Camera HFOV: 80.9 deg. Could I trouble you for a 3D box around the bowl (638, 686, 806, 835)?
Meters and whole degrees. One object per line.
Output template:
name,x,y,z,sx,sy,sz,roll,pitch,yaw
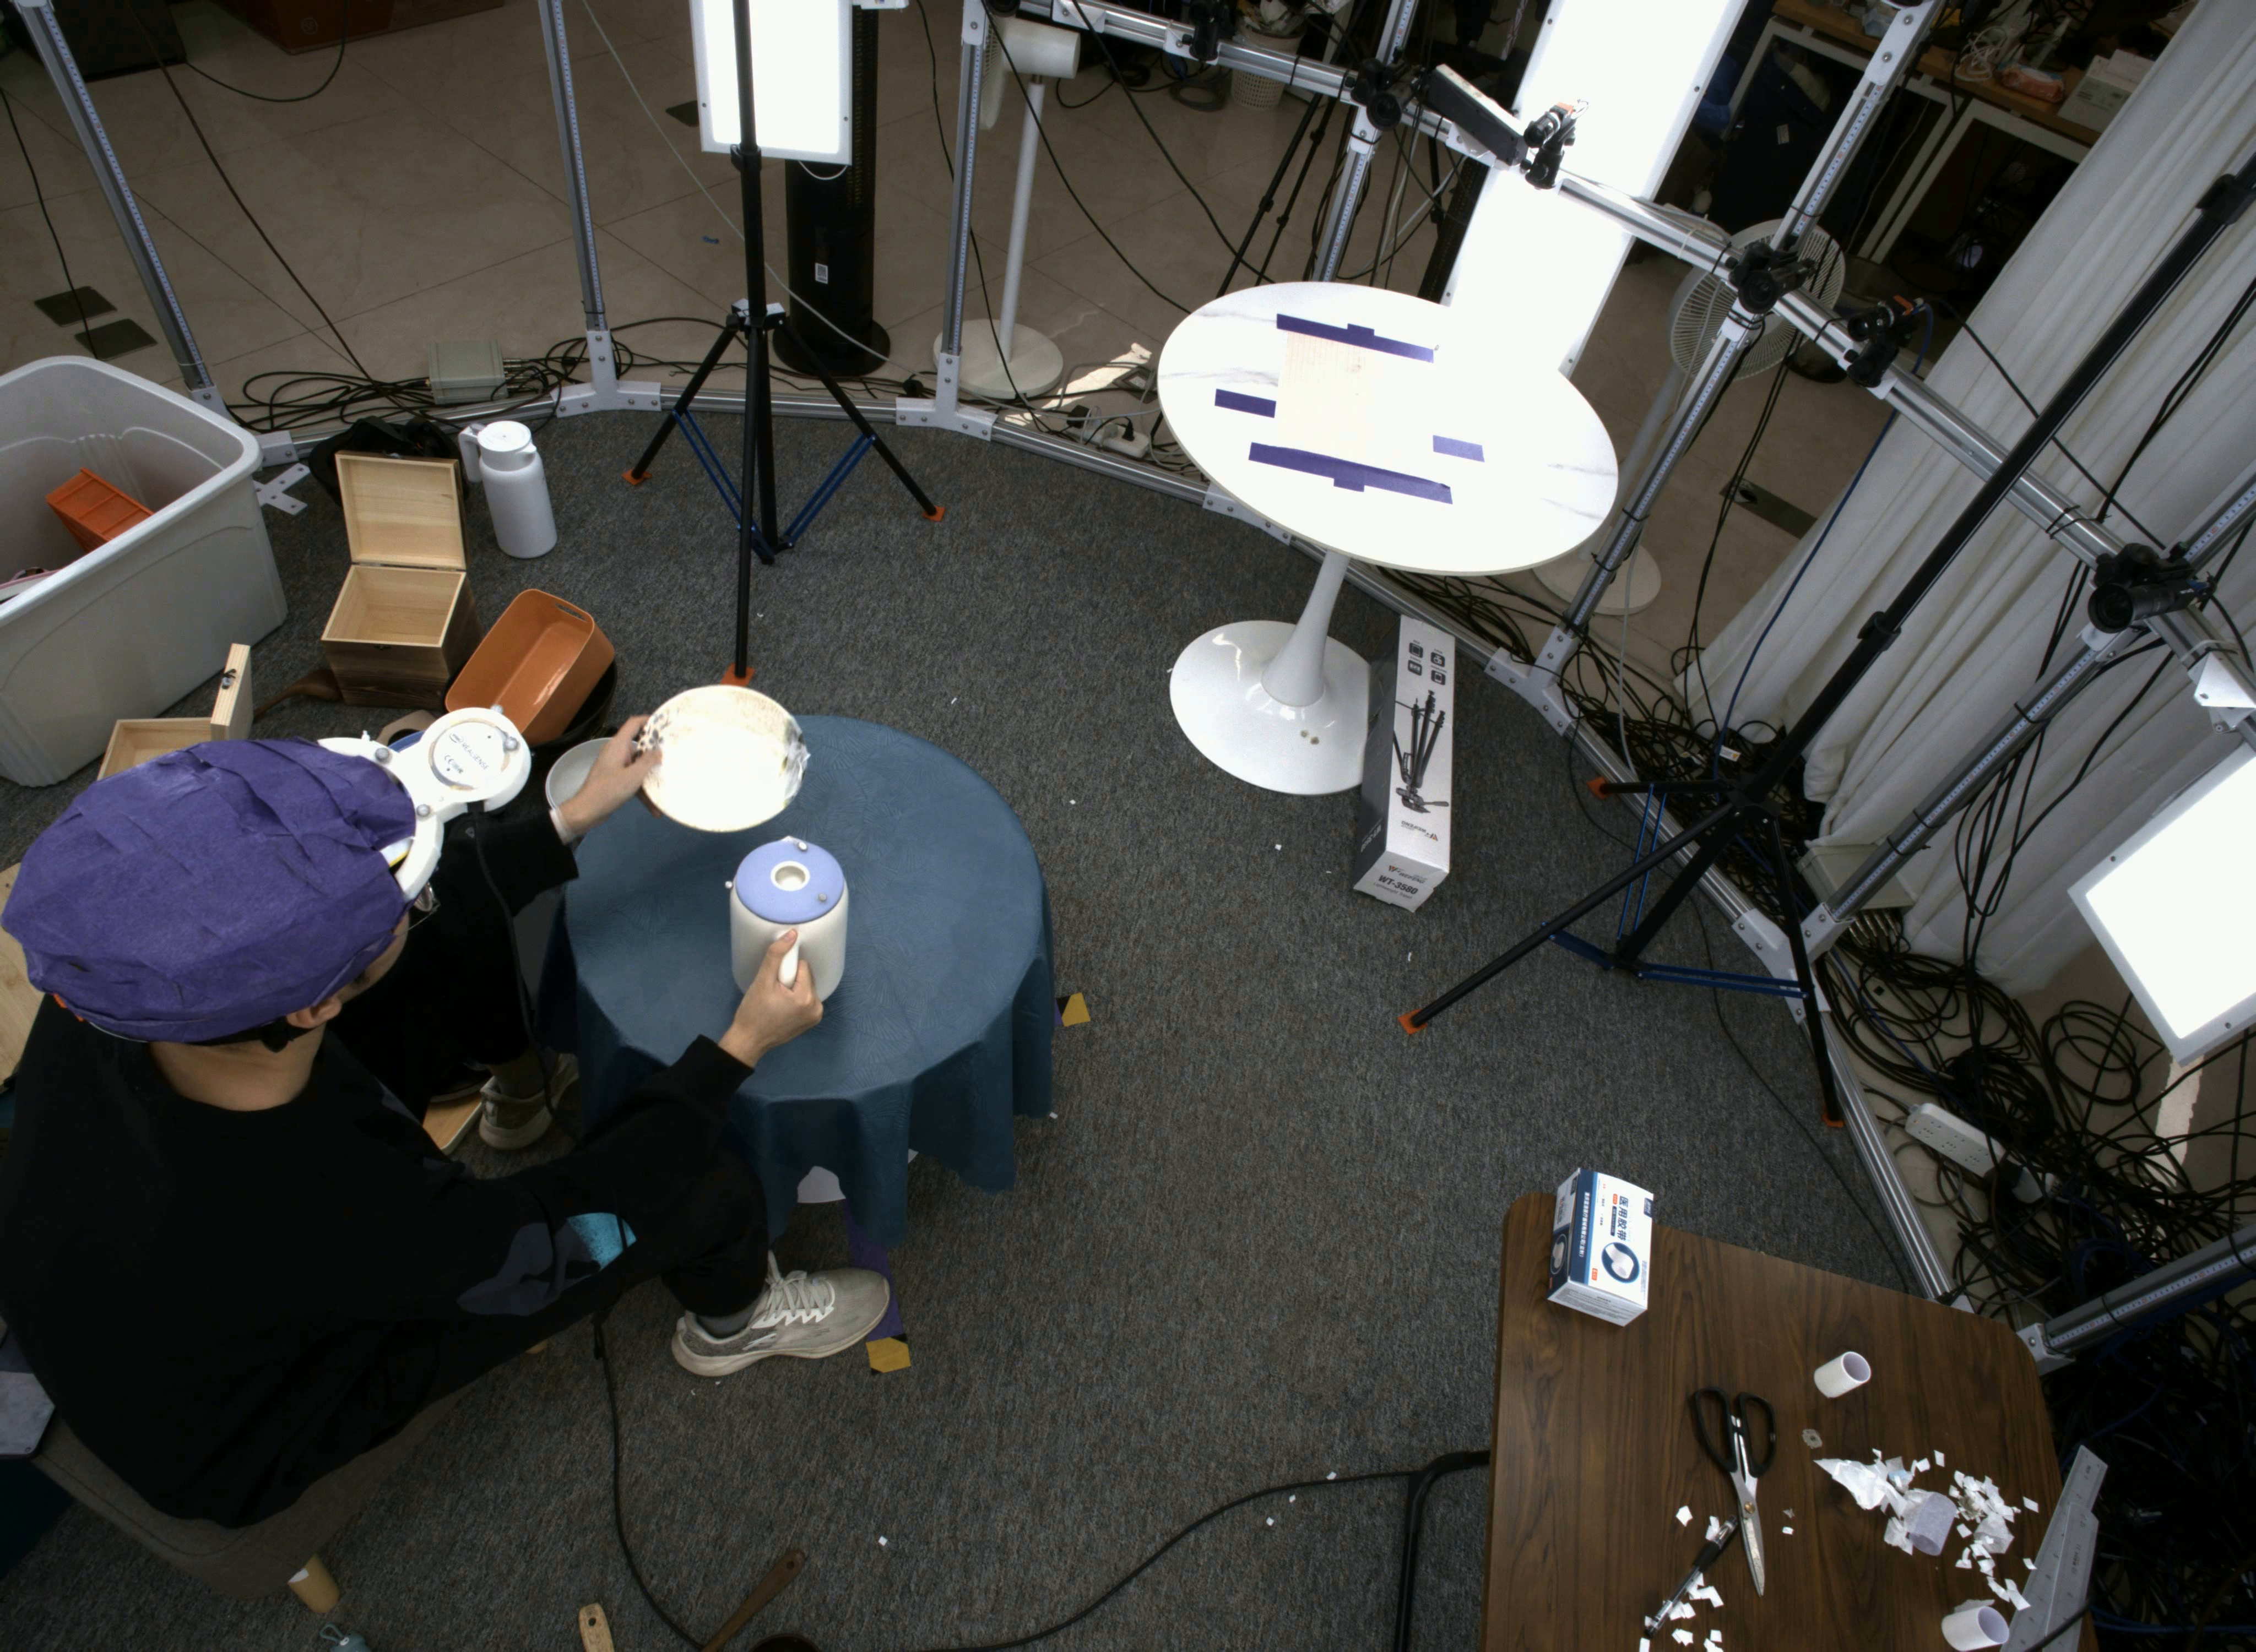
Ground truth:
bowl,-0.502,-0.068,1.605,0.204,0.079,0.202,6,65,-11

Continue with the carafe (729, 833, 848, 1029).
carafe,-0.387,0.131,1.481,0.132,0.186,0.187,-1,52,-15
